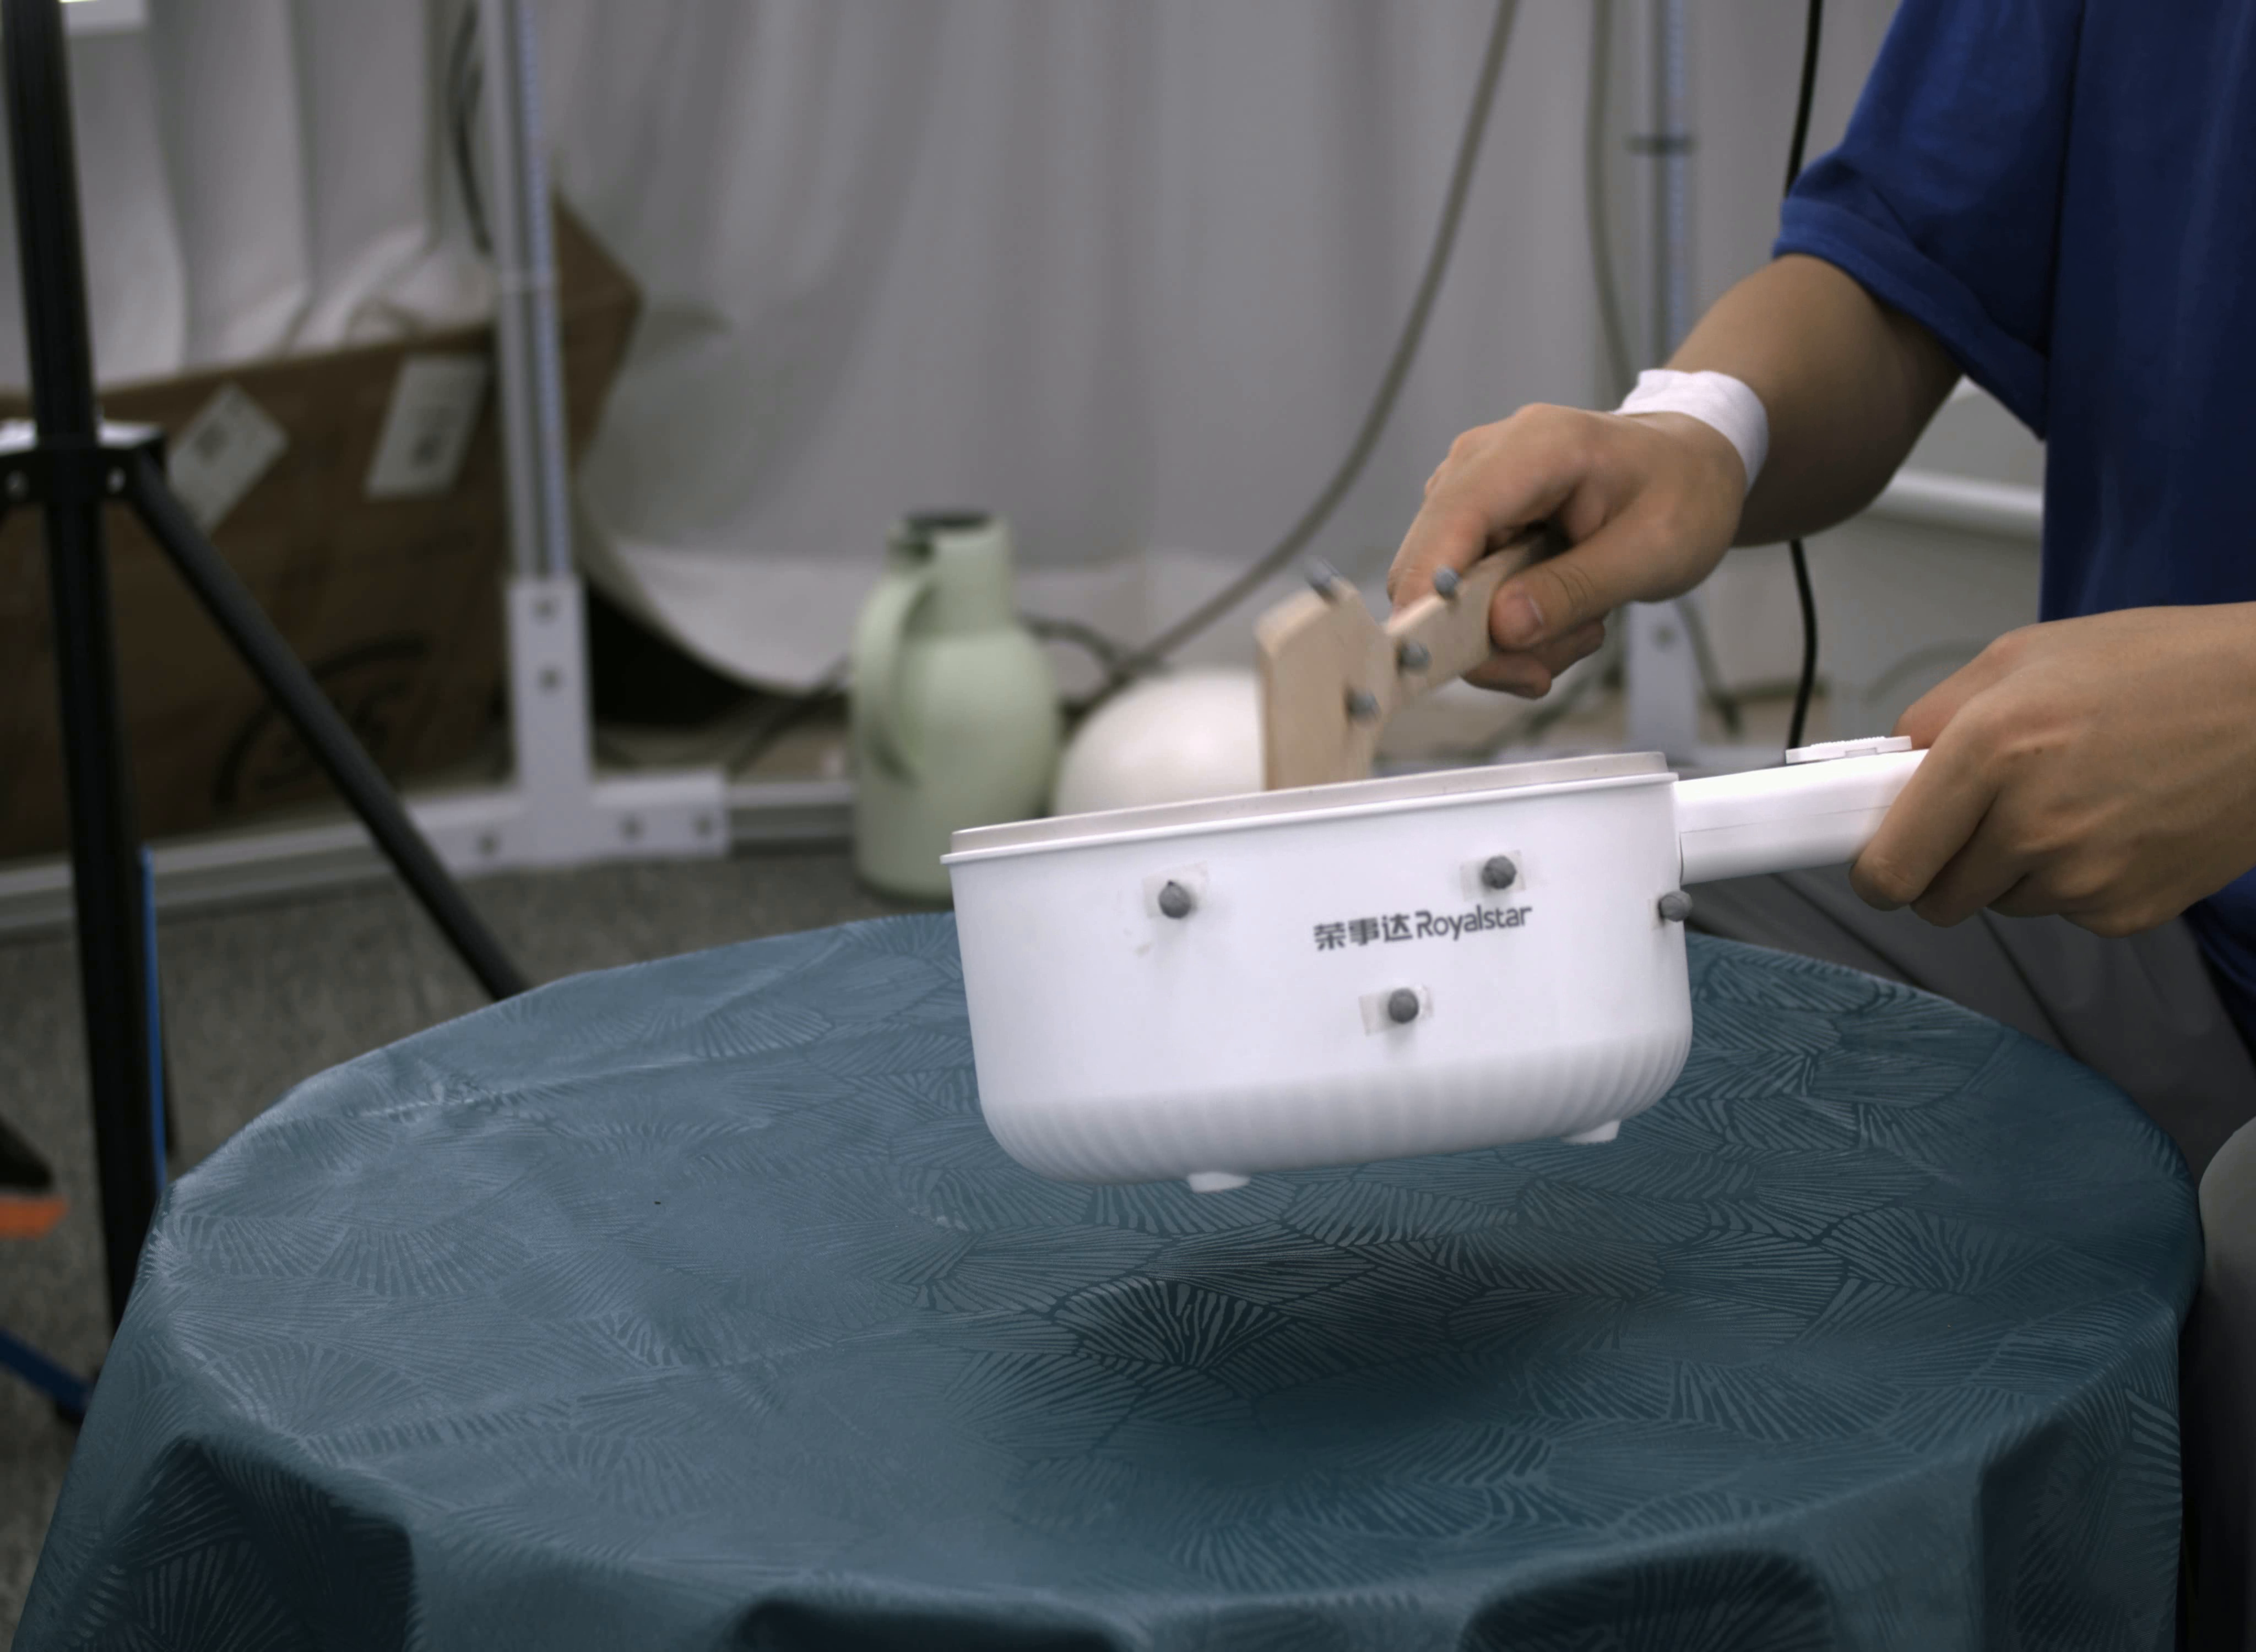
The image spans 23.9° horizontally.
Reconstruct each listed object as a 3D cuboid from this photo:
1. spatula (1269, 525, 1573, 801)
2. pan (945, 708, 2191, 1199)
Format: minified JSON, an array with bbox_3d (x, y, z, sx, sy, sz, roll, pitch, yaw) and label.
[{"bbox_3d":[0.086,-0.048,1.537,0.011,0.072,0.289,7,17,19],"label":"spatula"},{"bbox_3d":[0.128,0.035,1.449,0.349,0.103,0.203,-6,-3,-15],"label":"pan"}]
